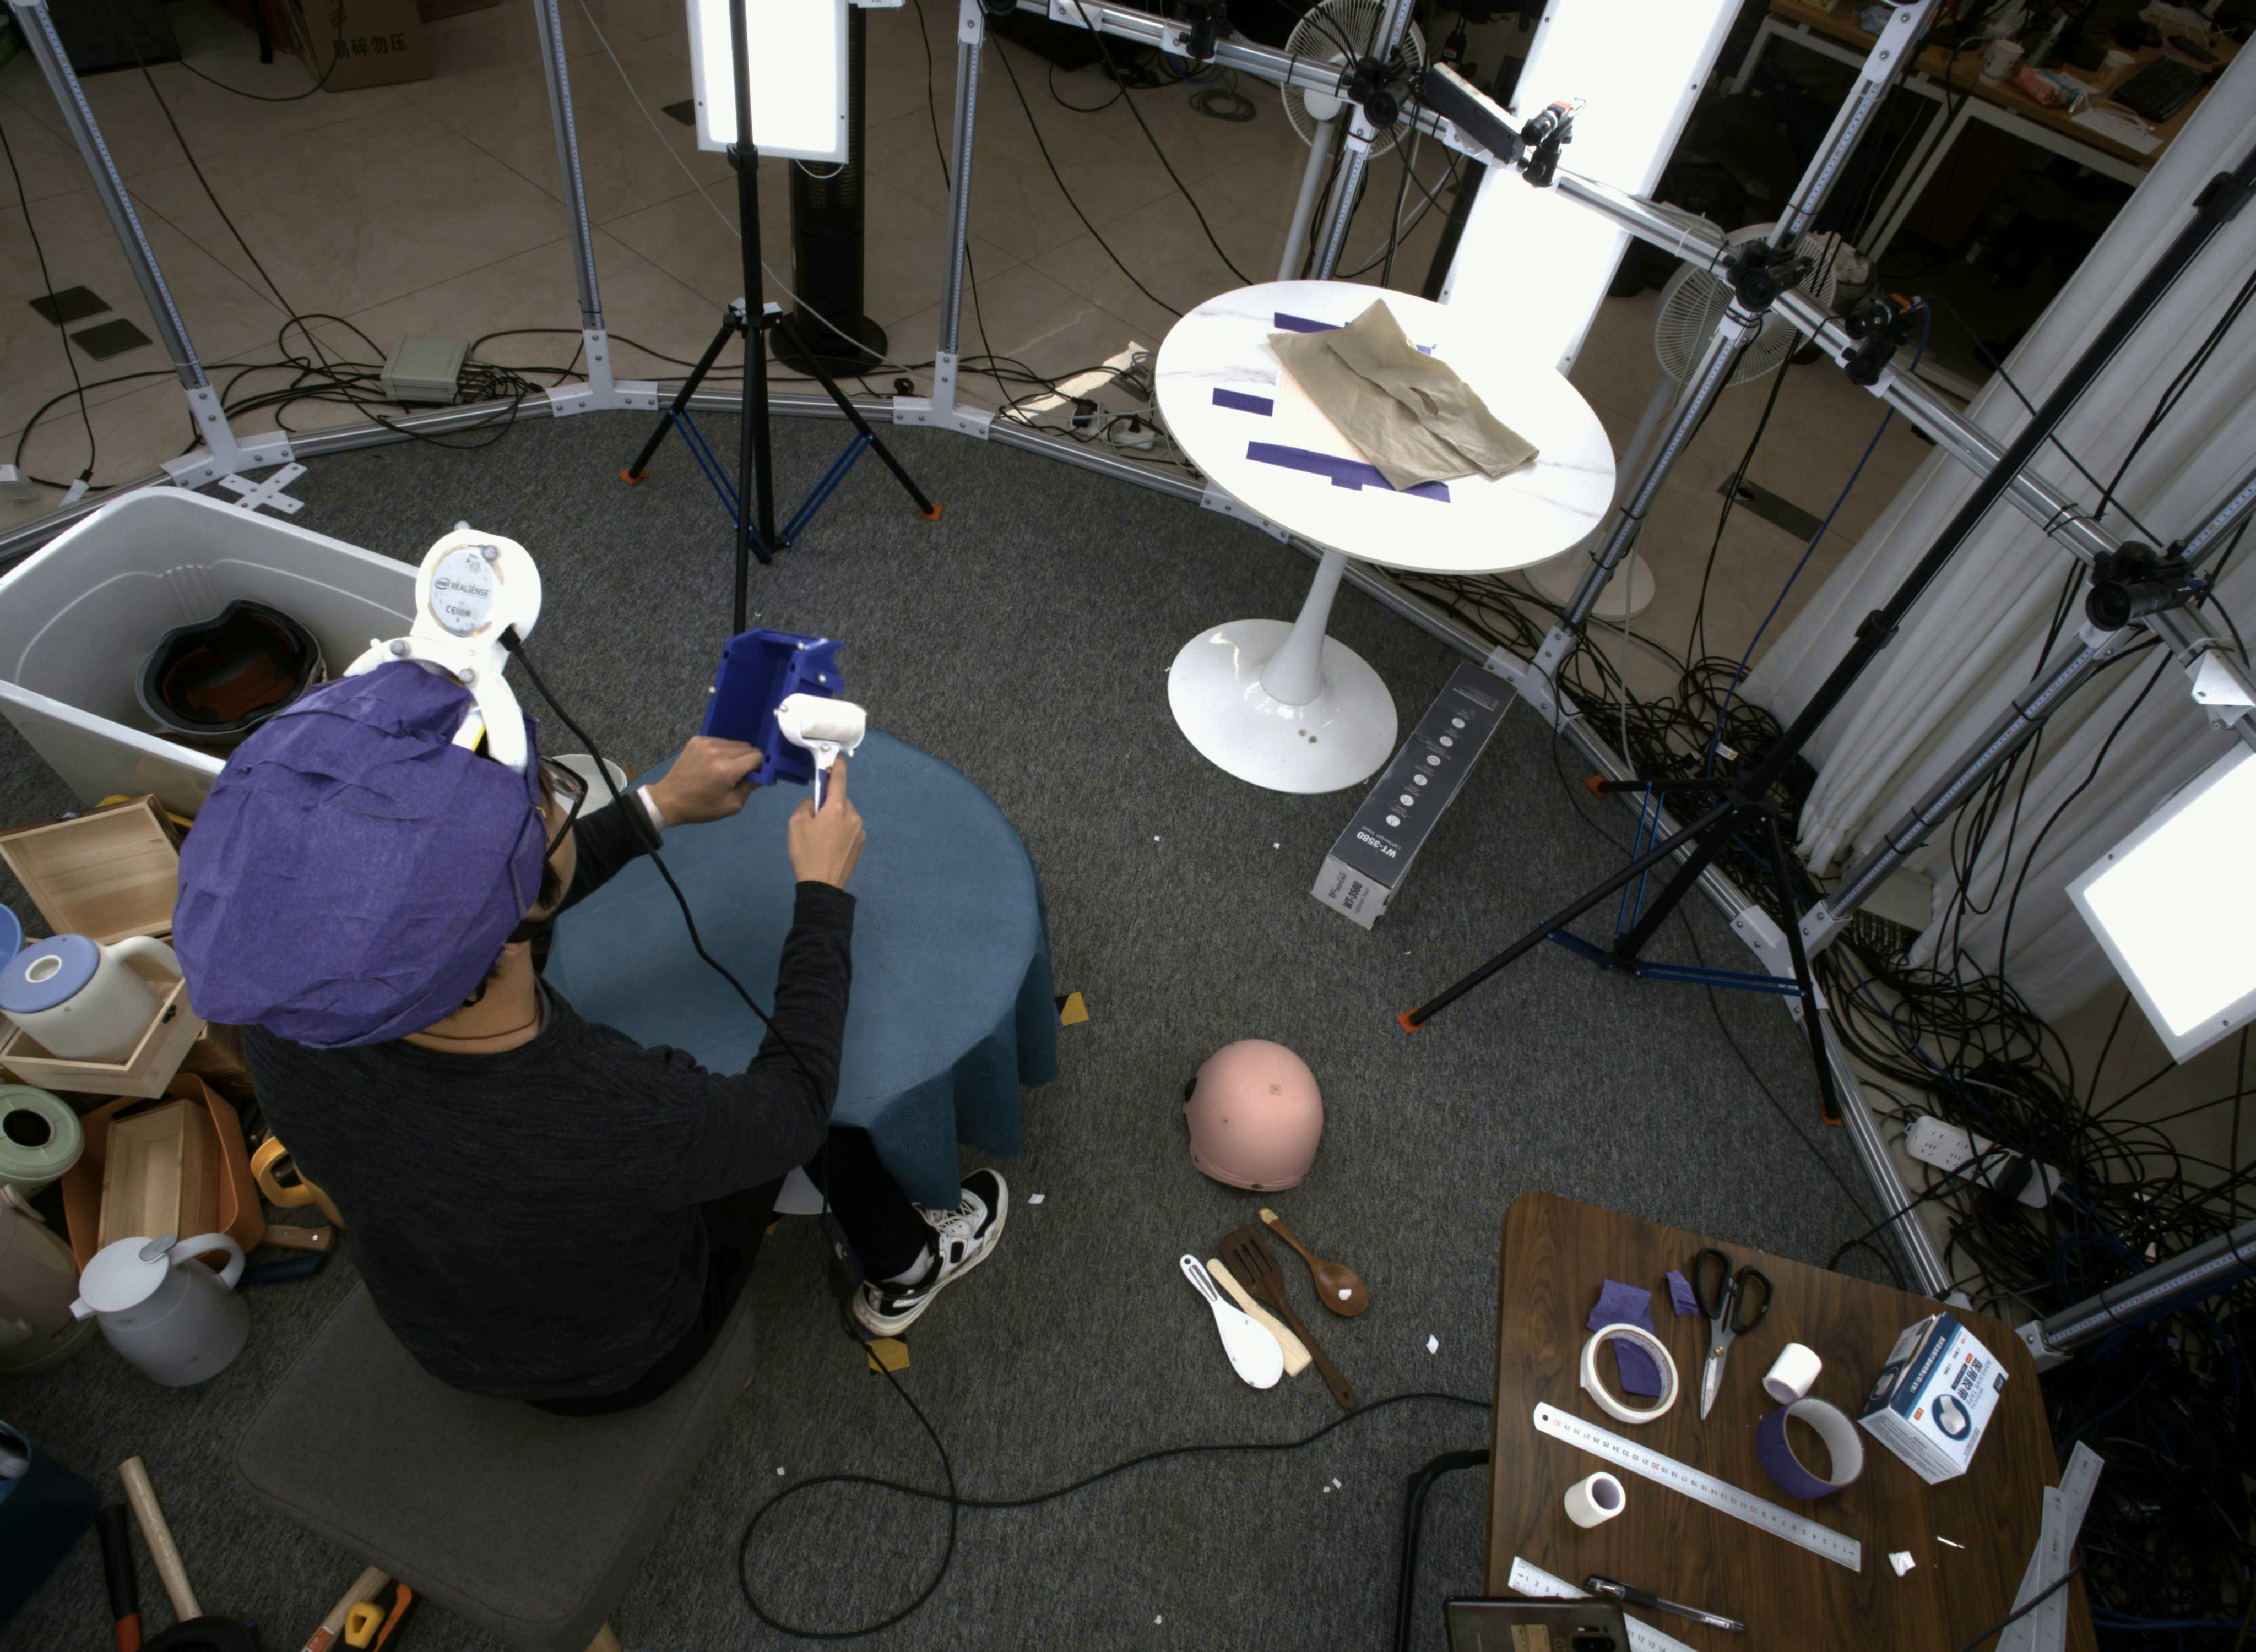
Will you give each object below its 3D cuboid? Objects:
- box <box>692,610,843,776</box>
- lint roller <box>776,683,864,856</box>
[{"bbox_3d":[-0.402,-0.150,1.451,0.120,0.084,0.181,15,91,29],"label":"box"},{"bbox_3d":[-0.325,-0.062,1.414,0.049,0.135,0.182,-12,84,20],"label":"lint roller"}]
